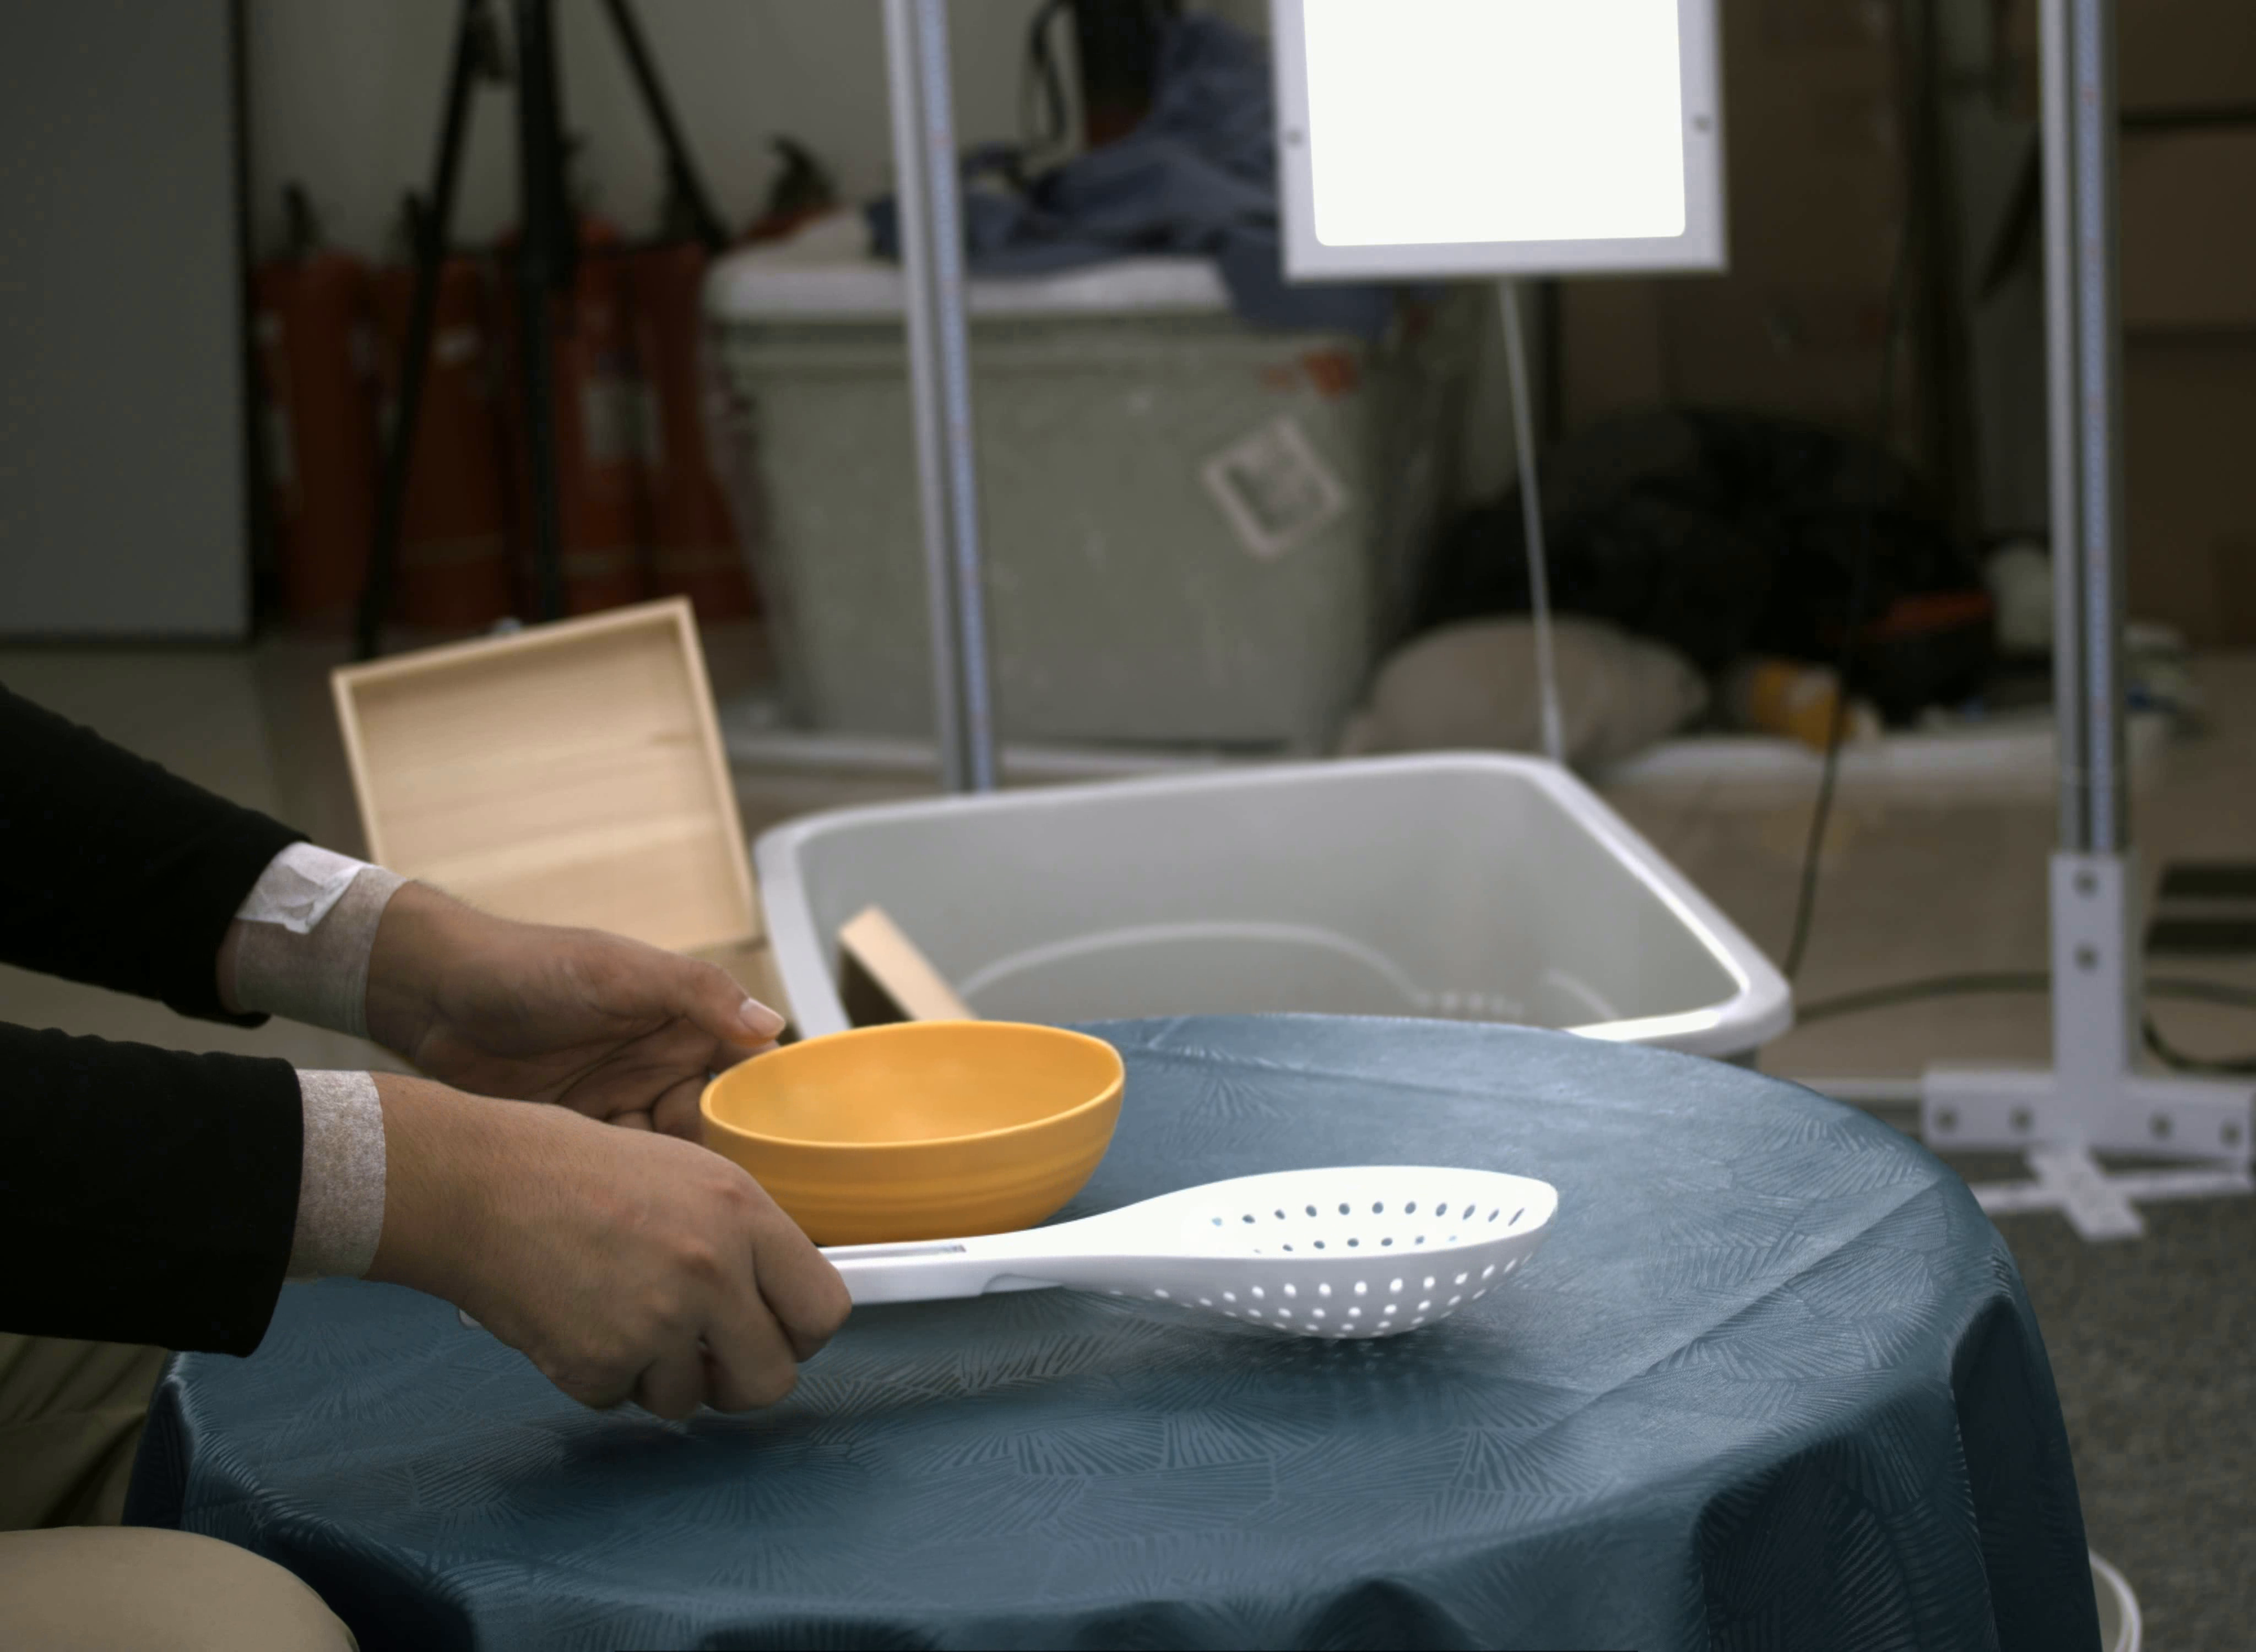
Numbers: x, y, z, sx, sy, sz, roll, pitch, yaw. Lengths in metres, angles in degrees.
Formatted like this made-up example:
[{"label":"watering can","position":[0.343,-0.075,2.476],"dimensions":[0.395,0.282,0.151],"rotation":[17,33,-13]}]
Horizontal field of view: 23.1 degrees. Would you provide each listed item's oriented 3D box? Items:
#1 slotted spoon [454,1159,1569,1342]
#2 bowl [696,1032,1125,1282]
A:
[{"label":"slotted spoon","position":[-0.034,0.136,1.715],"dimensions":[0.346,0.046,0.137],"rotation":[0,9,-8]},{"label":"bowl","position":[-0.072,0.115,1.854],"dimensions":[0.145,0.060,0.145],"rotation":[-3,13,-1]}]
